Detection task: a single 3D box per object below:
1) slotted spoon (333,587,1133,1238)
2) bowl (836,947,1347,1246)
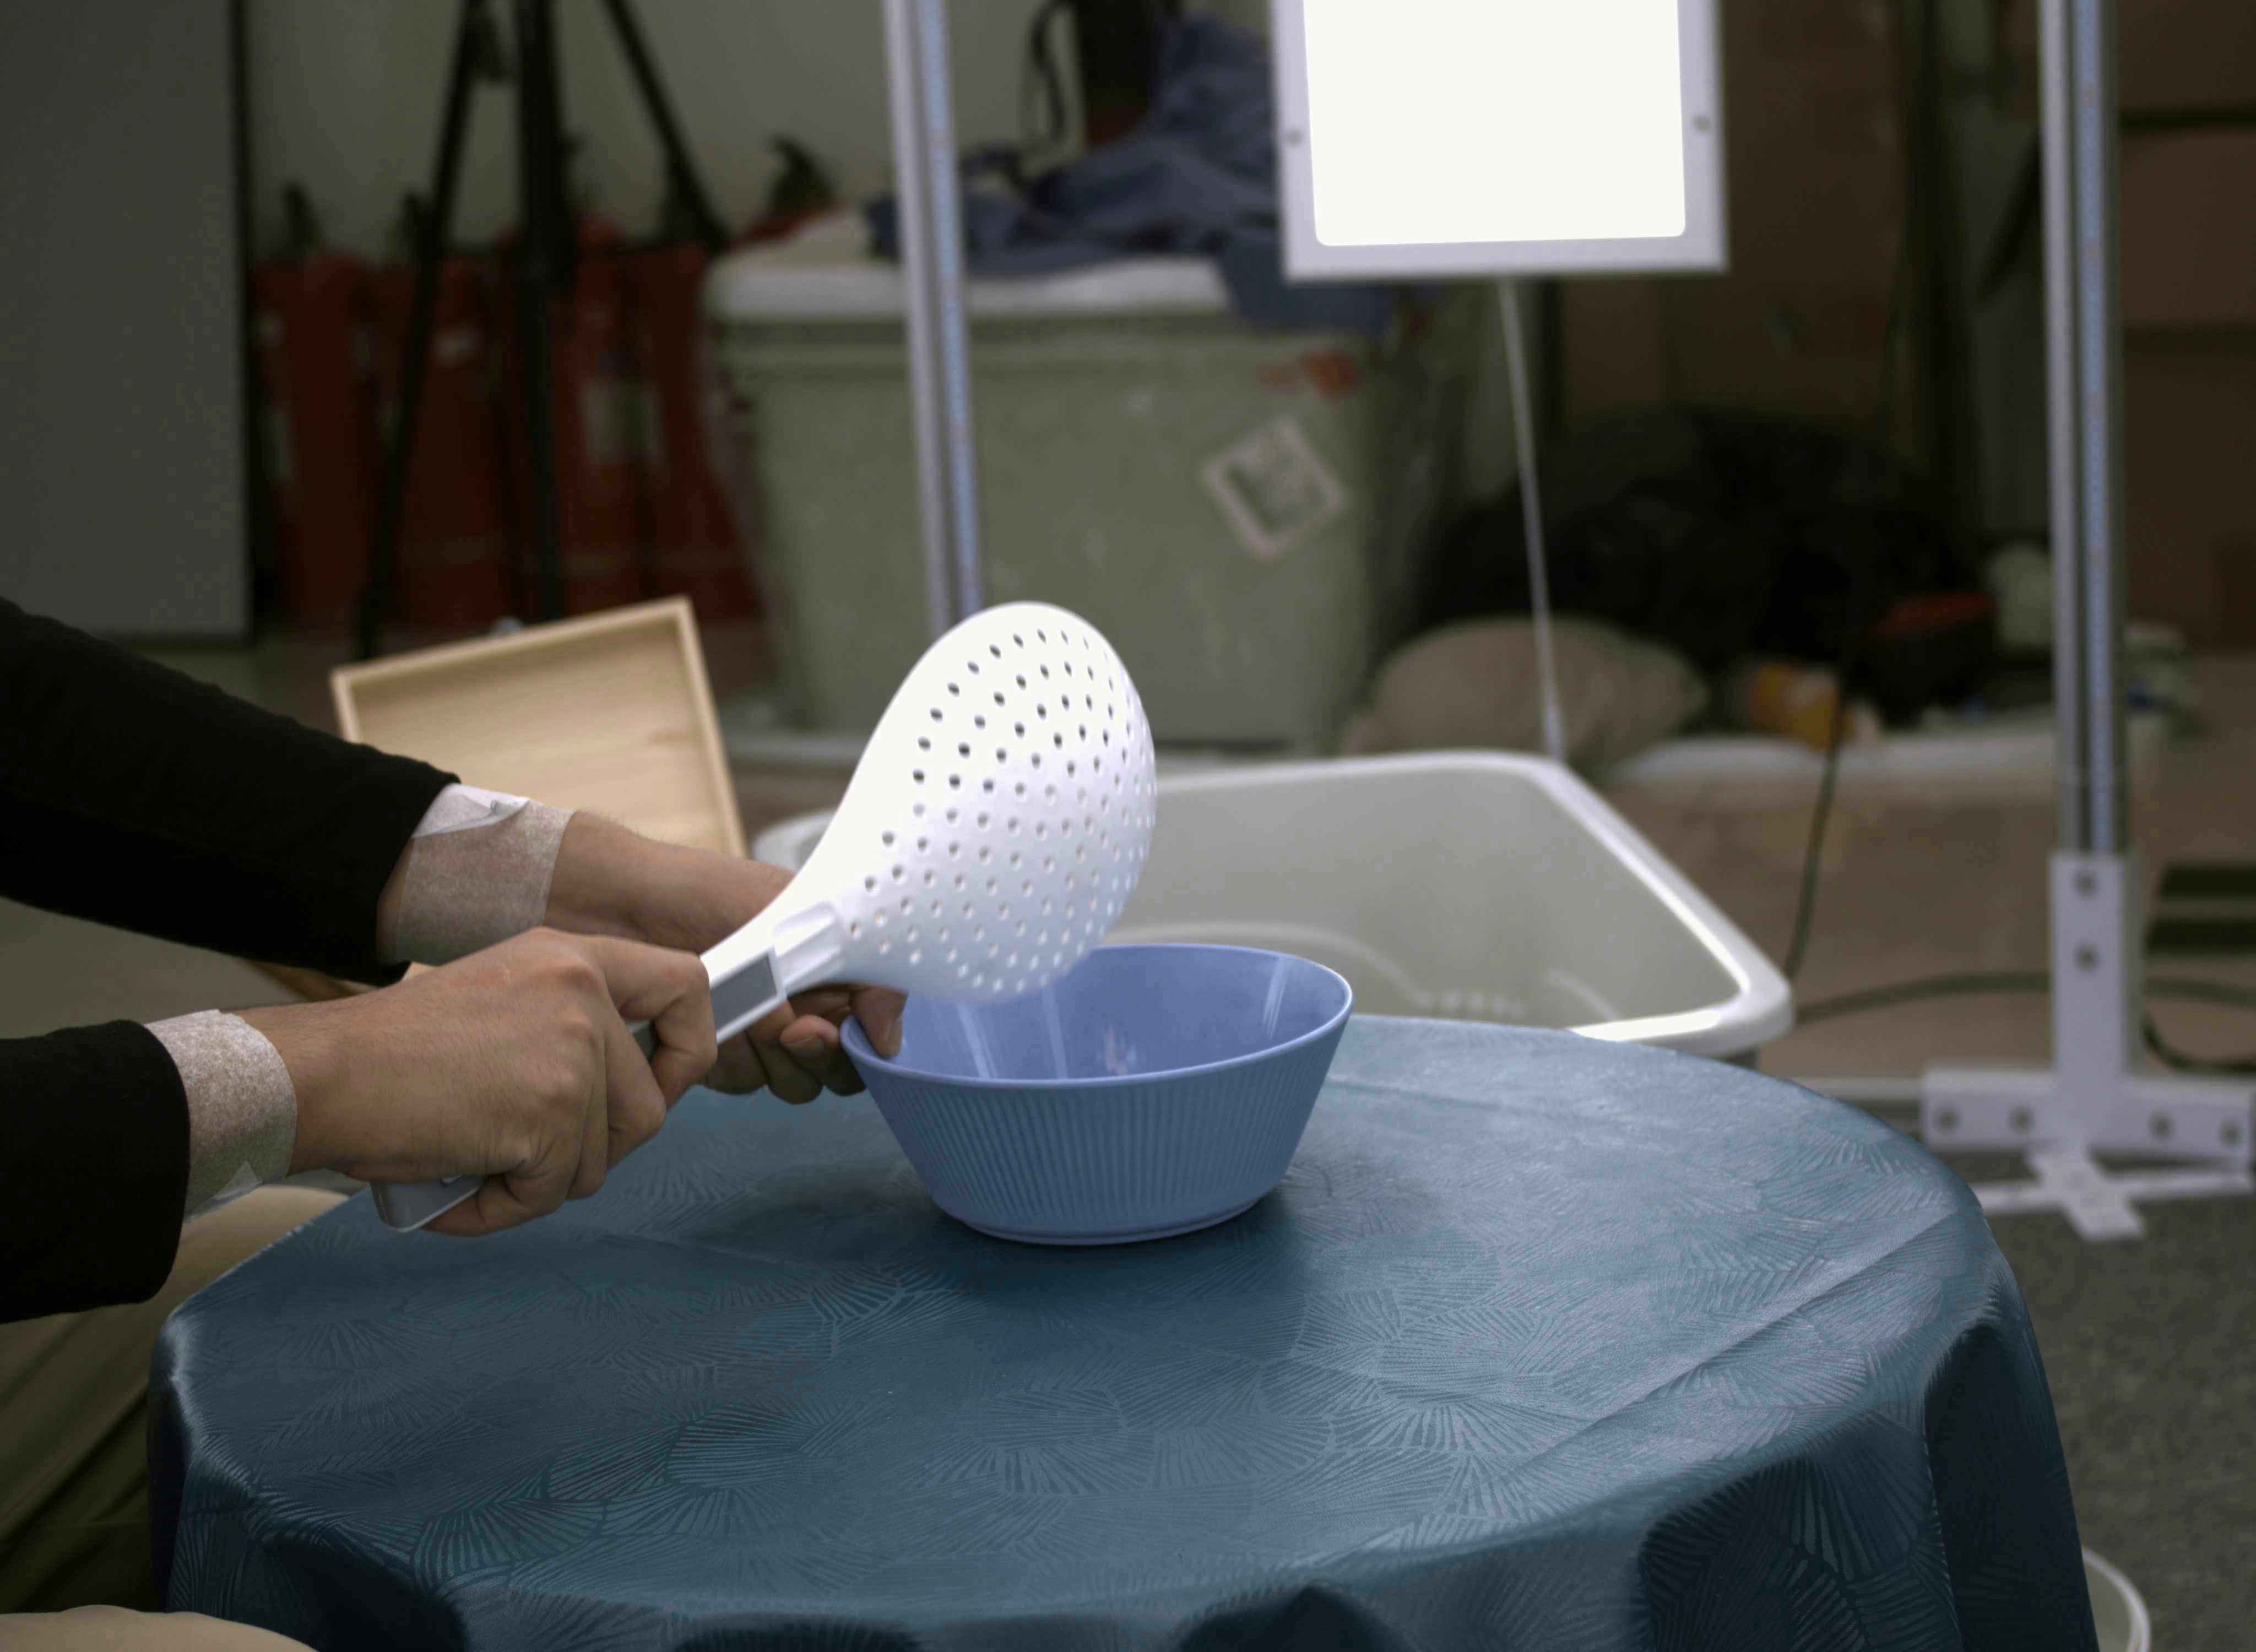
[{"bbox_3d":[-0.118,0.037,1.773,0.342,0.136,0.046,-30,32,-30],"label":"slotted spoon"},{"bbox_3d":[-0.010,0.095,1.884,0.175,0.070,0.176,-6,13,0],"label":"bowl"}]
